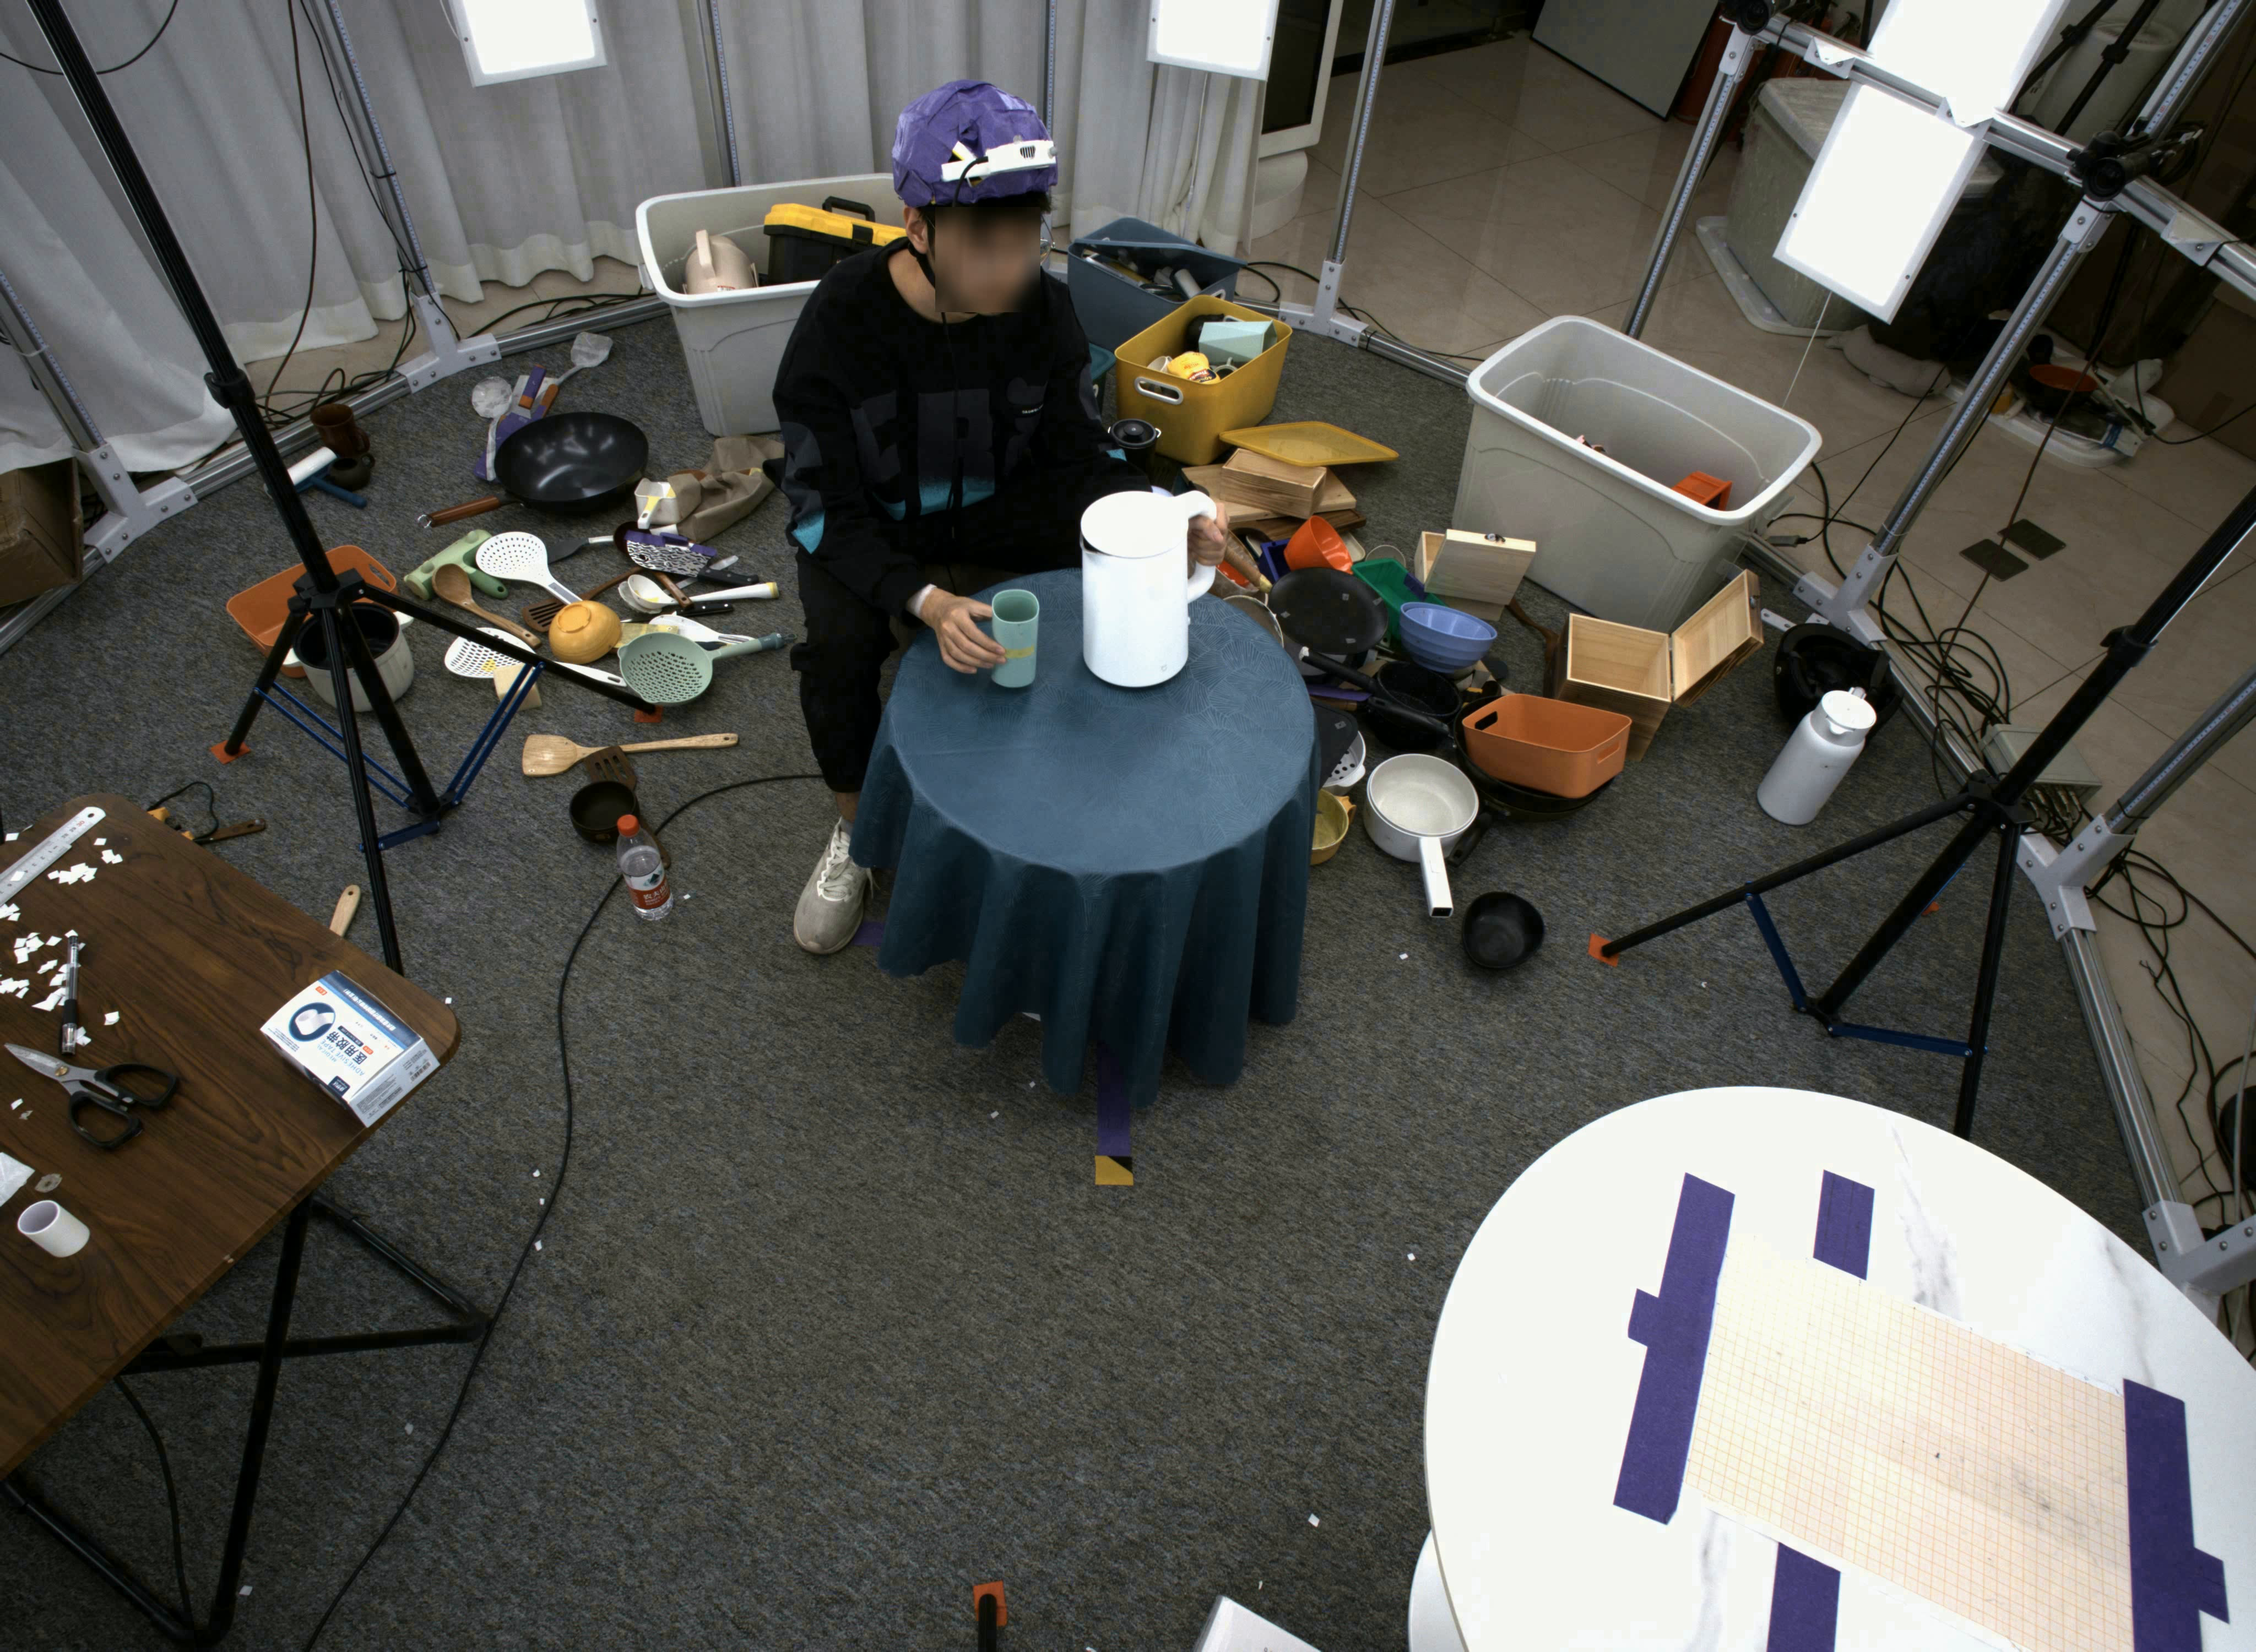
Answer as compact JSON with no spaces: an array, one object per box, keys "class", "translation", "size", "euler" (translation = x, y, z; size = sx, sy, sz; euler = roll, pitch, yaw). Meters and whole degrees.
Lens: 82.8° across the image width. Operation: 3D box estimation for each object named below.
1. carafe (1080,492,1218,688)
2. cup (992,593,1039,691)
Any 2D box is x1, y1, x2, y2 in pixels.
[{"class":"carafe","translation":[0.032,-0.338,1.804],"size":[0.214,0.234,0.155],"euler":[-27,54,-21]},{"class":"cup","translation":[-0.155,-0.254,1.773],"size":[0.066,0.129,0.068],"euler":[2,54,-3]}]
